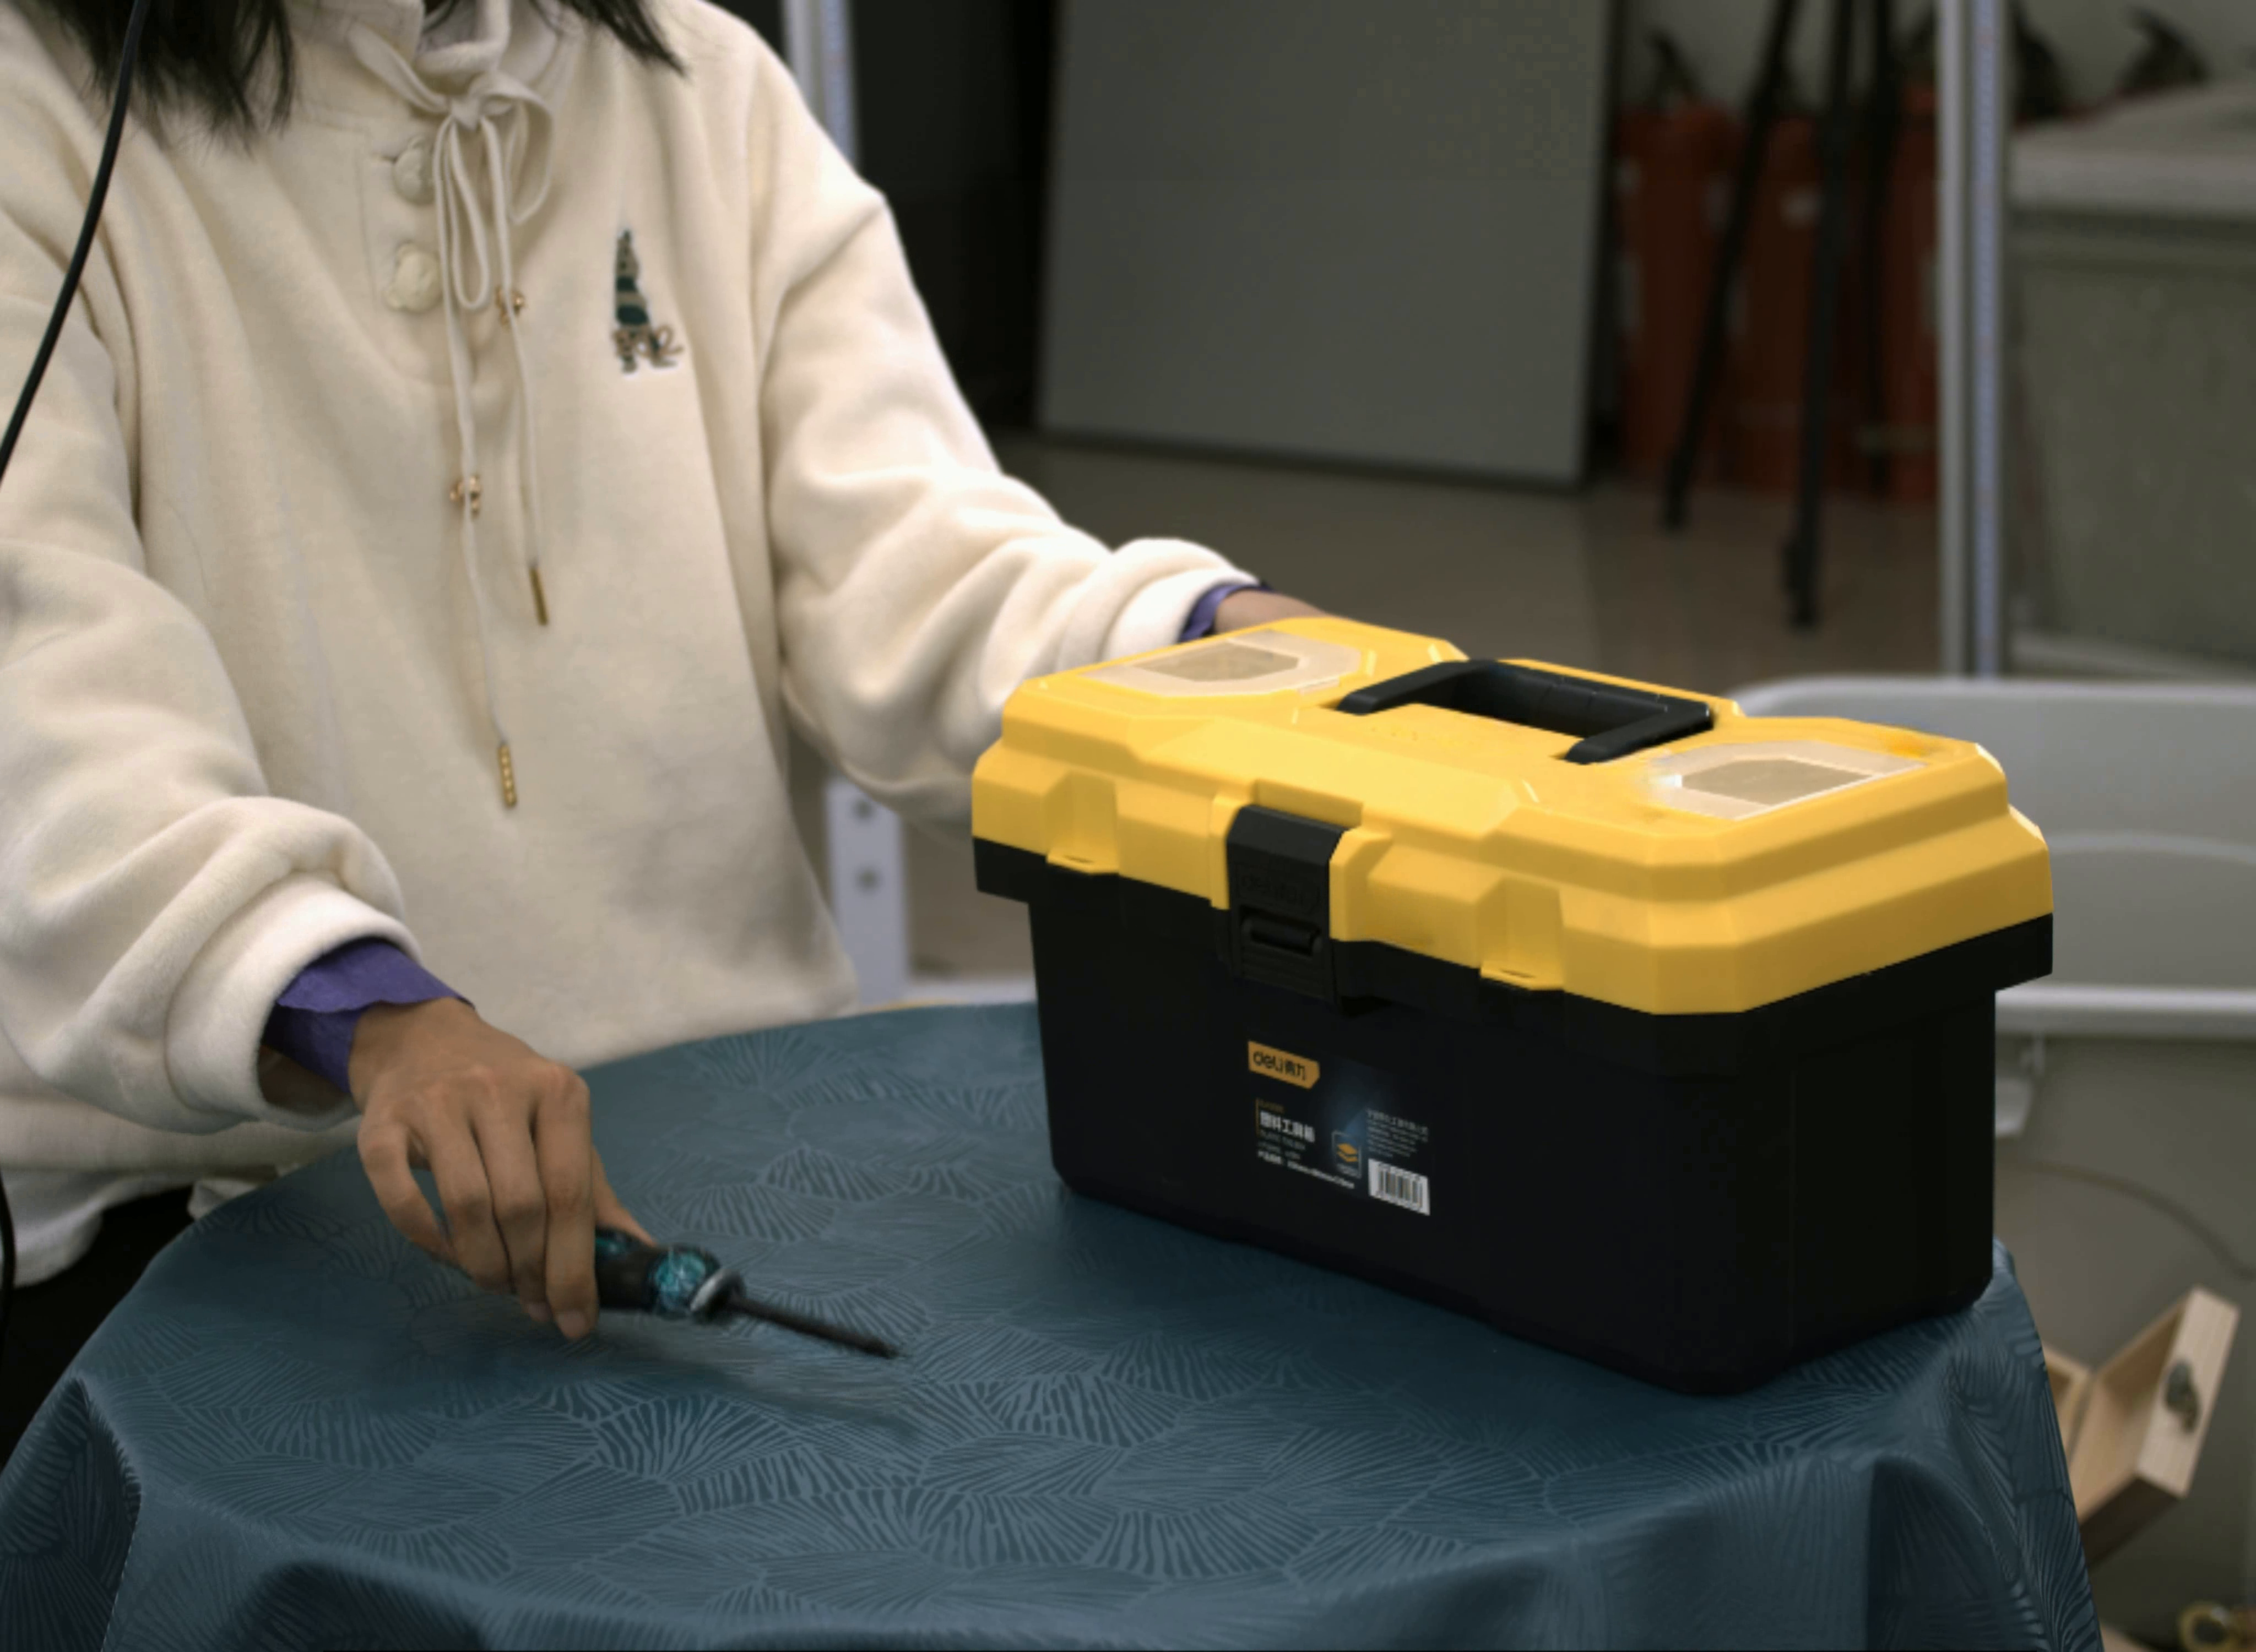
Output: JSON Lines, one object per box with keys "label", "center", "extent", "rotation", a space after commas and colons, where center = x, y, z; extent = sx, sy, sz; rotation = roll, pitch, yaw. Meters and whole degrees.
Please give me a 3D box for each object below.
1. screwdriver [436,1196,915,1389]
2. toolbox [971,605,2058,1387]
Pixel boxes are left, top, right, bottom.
{"label": "screwdriver", "center": [-0.136, 0.145, 1.631], "extent": [0.191, 0.034, 0.033], "rotation": [13, 21, 37]}
{"label": "toolbox", "center": [0.113, 0.045, 1.677], "extent": [0.177, 0.175, 0.355], "rotation": [-14, 17, -36]}
